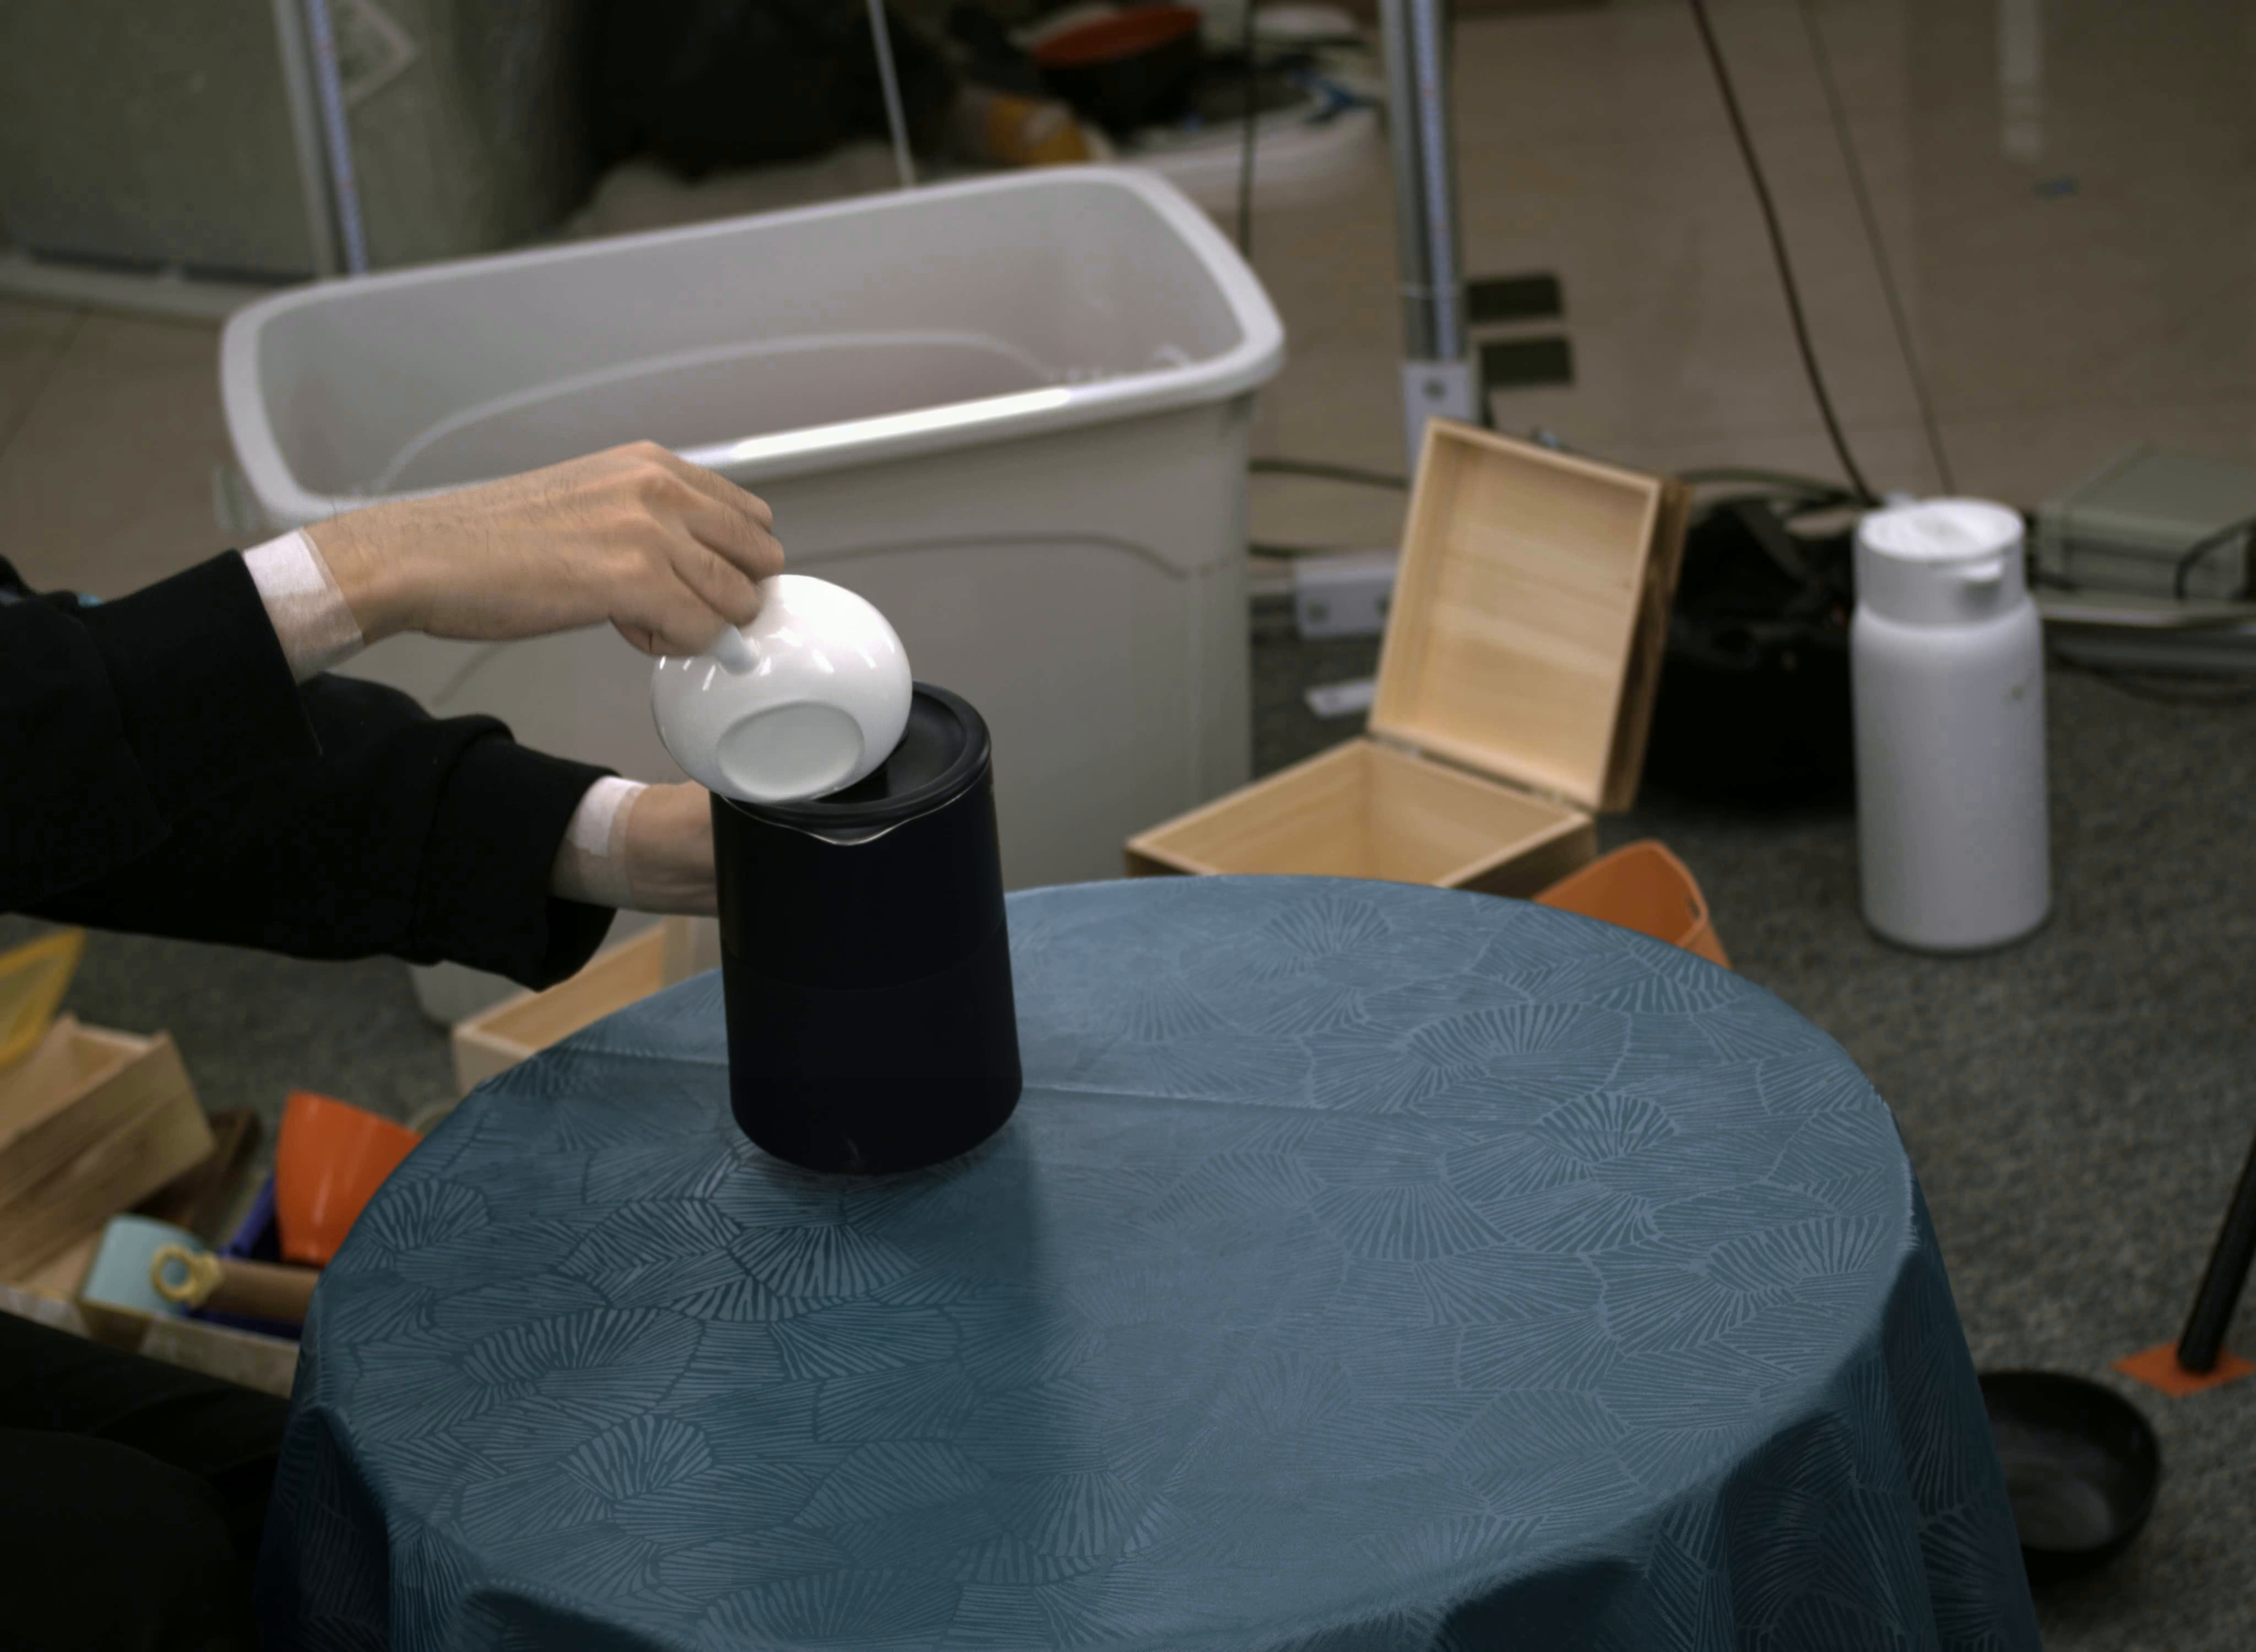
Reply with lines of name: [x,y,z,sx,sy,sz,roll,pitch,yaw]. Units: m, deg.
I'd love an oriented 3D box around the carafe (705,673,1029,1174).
carafe: [-0.103,0.021,2.175,0.114,0.176,0.168,-6,35,-1]

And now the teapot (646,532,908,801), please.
teapot: [-0.127,-0.056,2.005,0.093,0.129,0.055,-12,51,6]
